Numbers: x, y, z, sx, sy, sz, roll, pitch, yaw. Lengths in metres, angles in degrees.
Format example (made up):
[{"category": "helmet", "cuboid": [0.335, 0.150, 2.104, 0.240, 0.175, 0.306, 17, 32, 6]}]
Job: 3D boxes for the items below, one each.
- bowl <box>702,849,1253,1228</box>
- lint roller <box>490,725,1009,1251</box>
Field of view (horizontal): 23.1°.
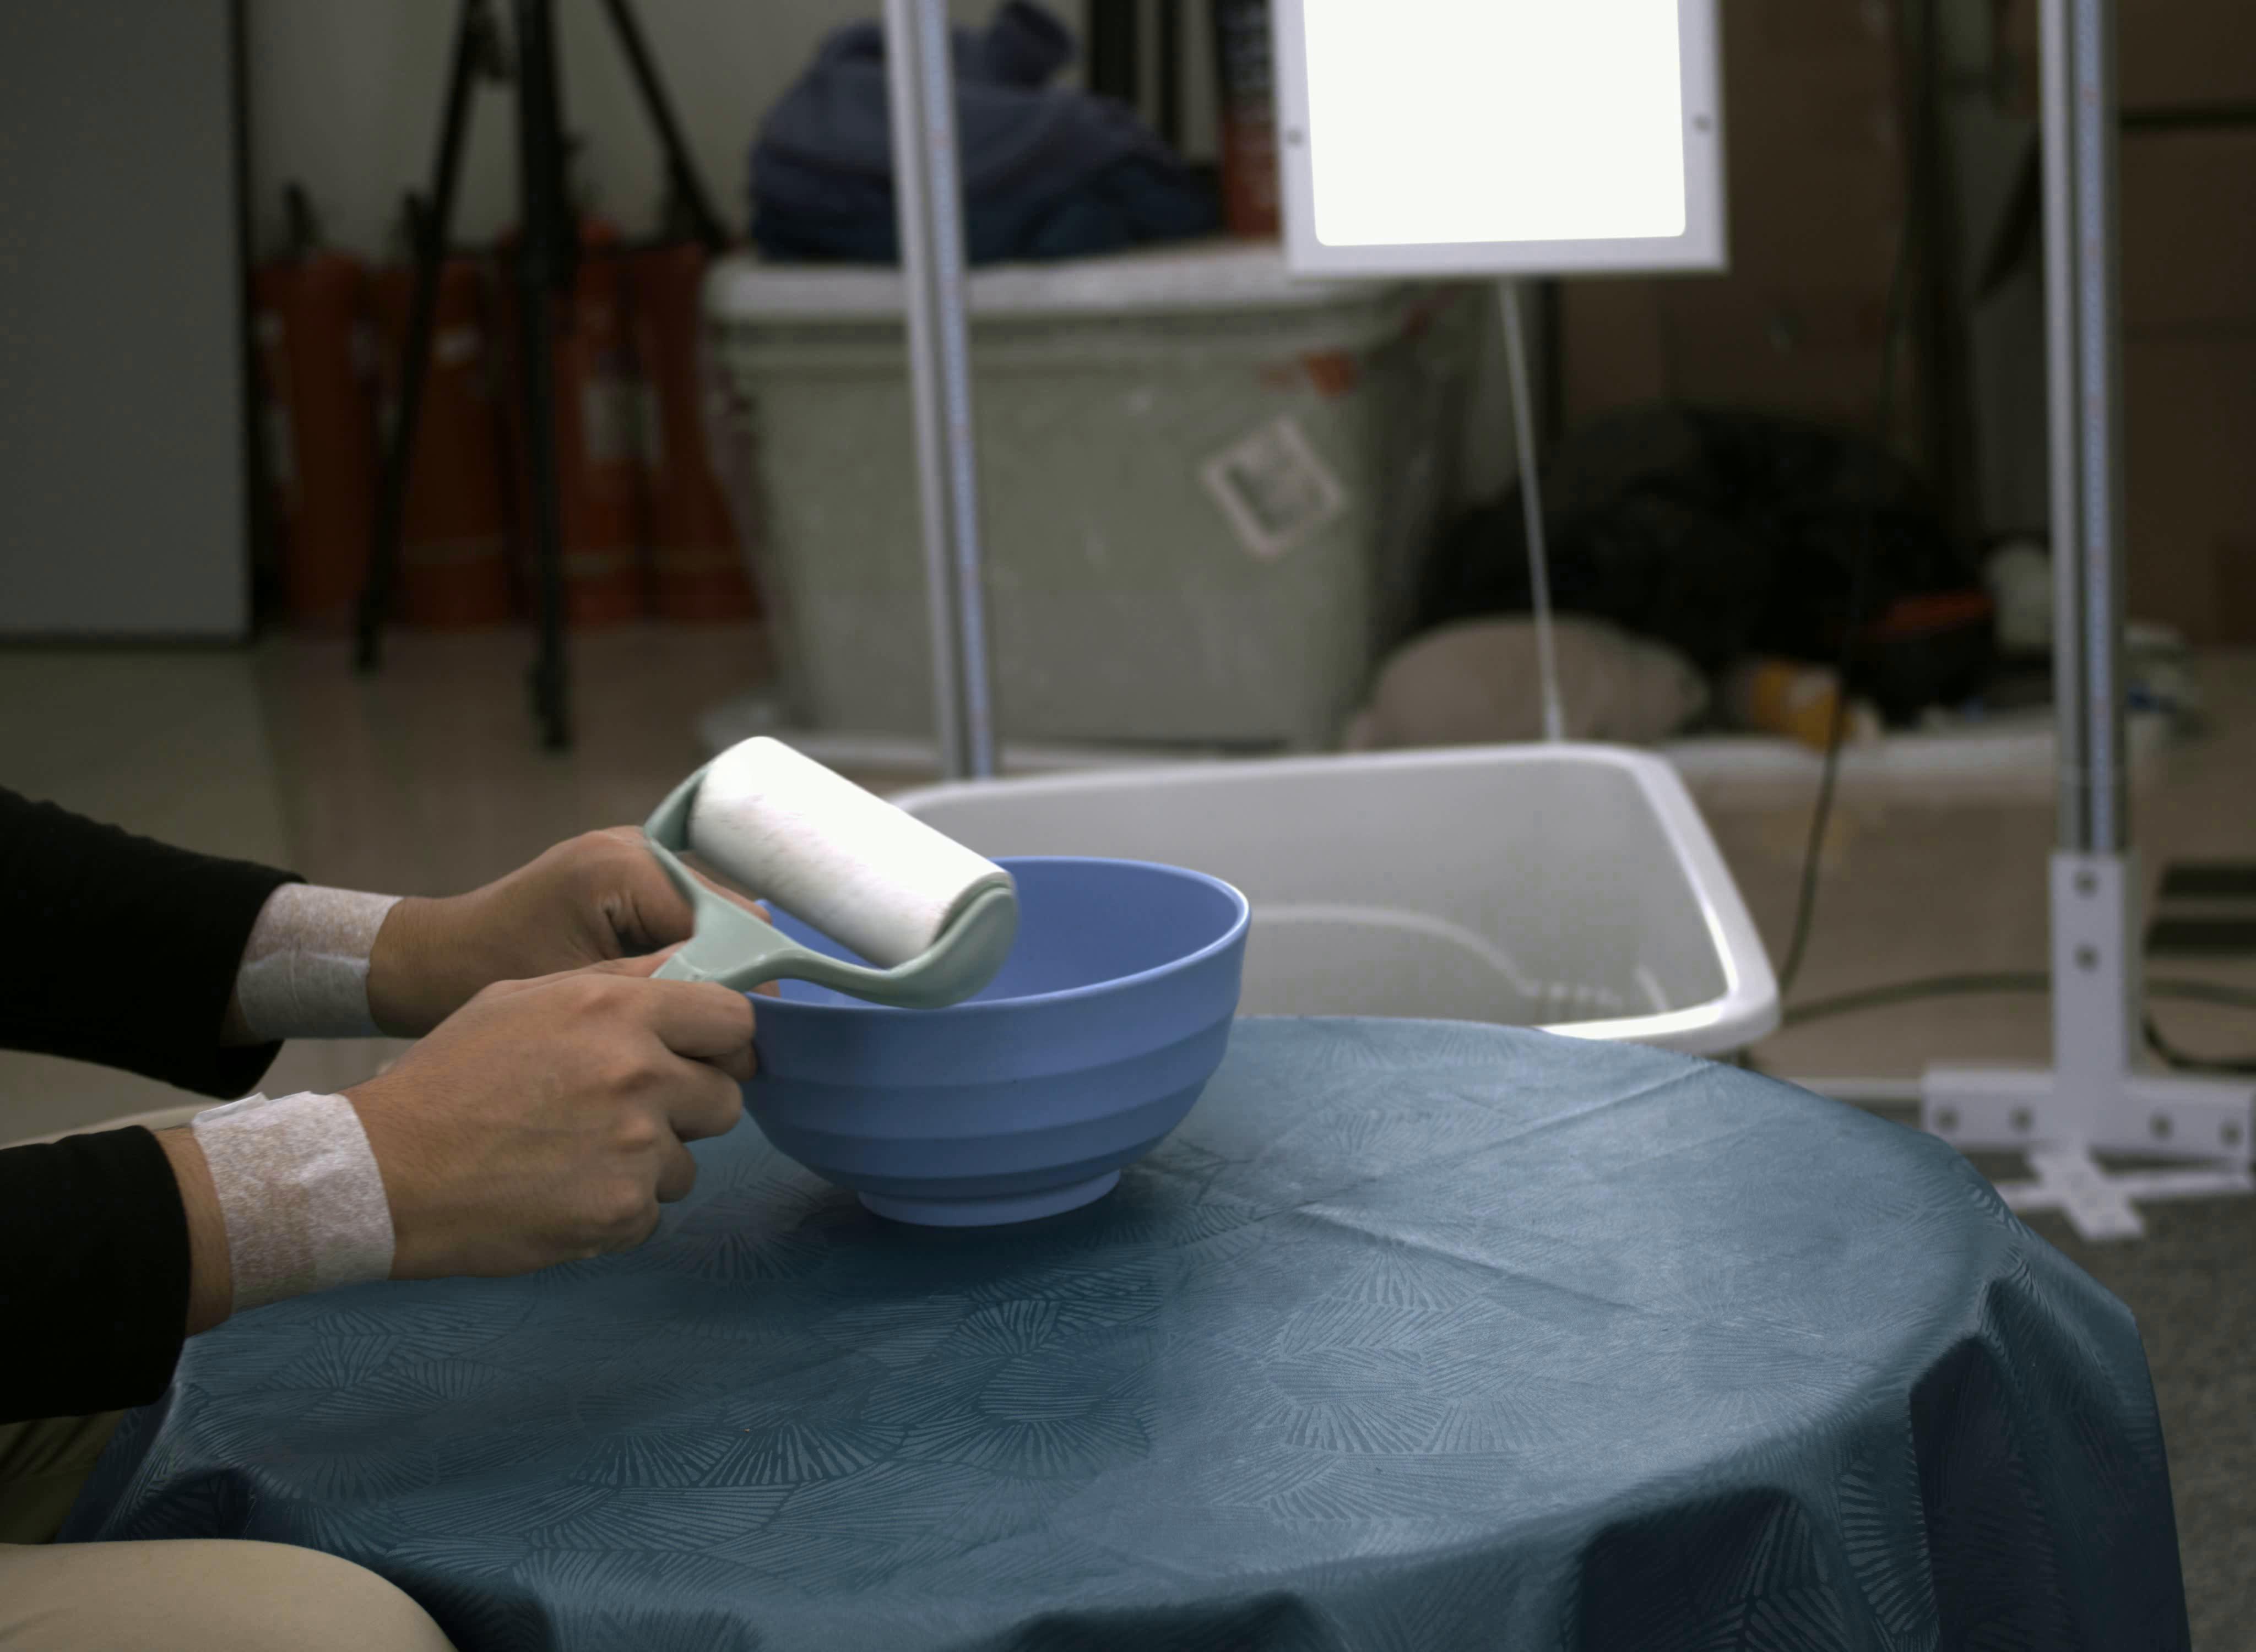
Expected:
[{"category": "bowl", "cuboid": [-0.052, 0.080, 1.907, 0.196, 0.096, 0.196, -4, 15, 0]}, {"category": "lint roller", "cuboid": [-0.137, 0.055, 1.745, 0.118, 0.048, 0.194, 30, 59, 26]}]
